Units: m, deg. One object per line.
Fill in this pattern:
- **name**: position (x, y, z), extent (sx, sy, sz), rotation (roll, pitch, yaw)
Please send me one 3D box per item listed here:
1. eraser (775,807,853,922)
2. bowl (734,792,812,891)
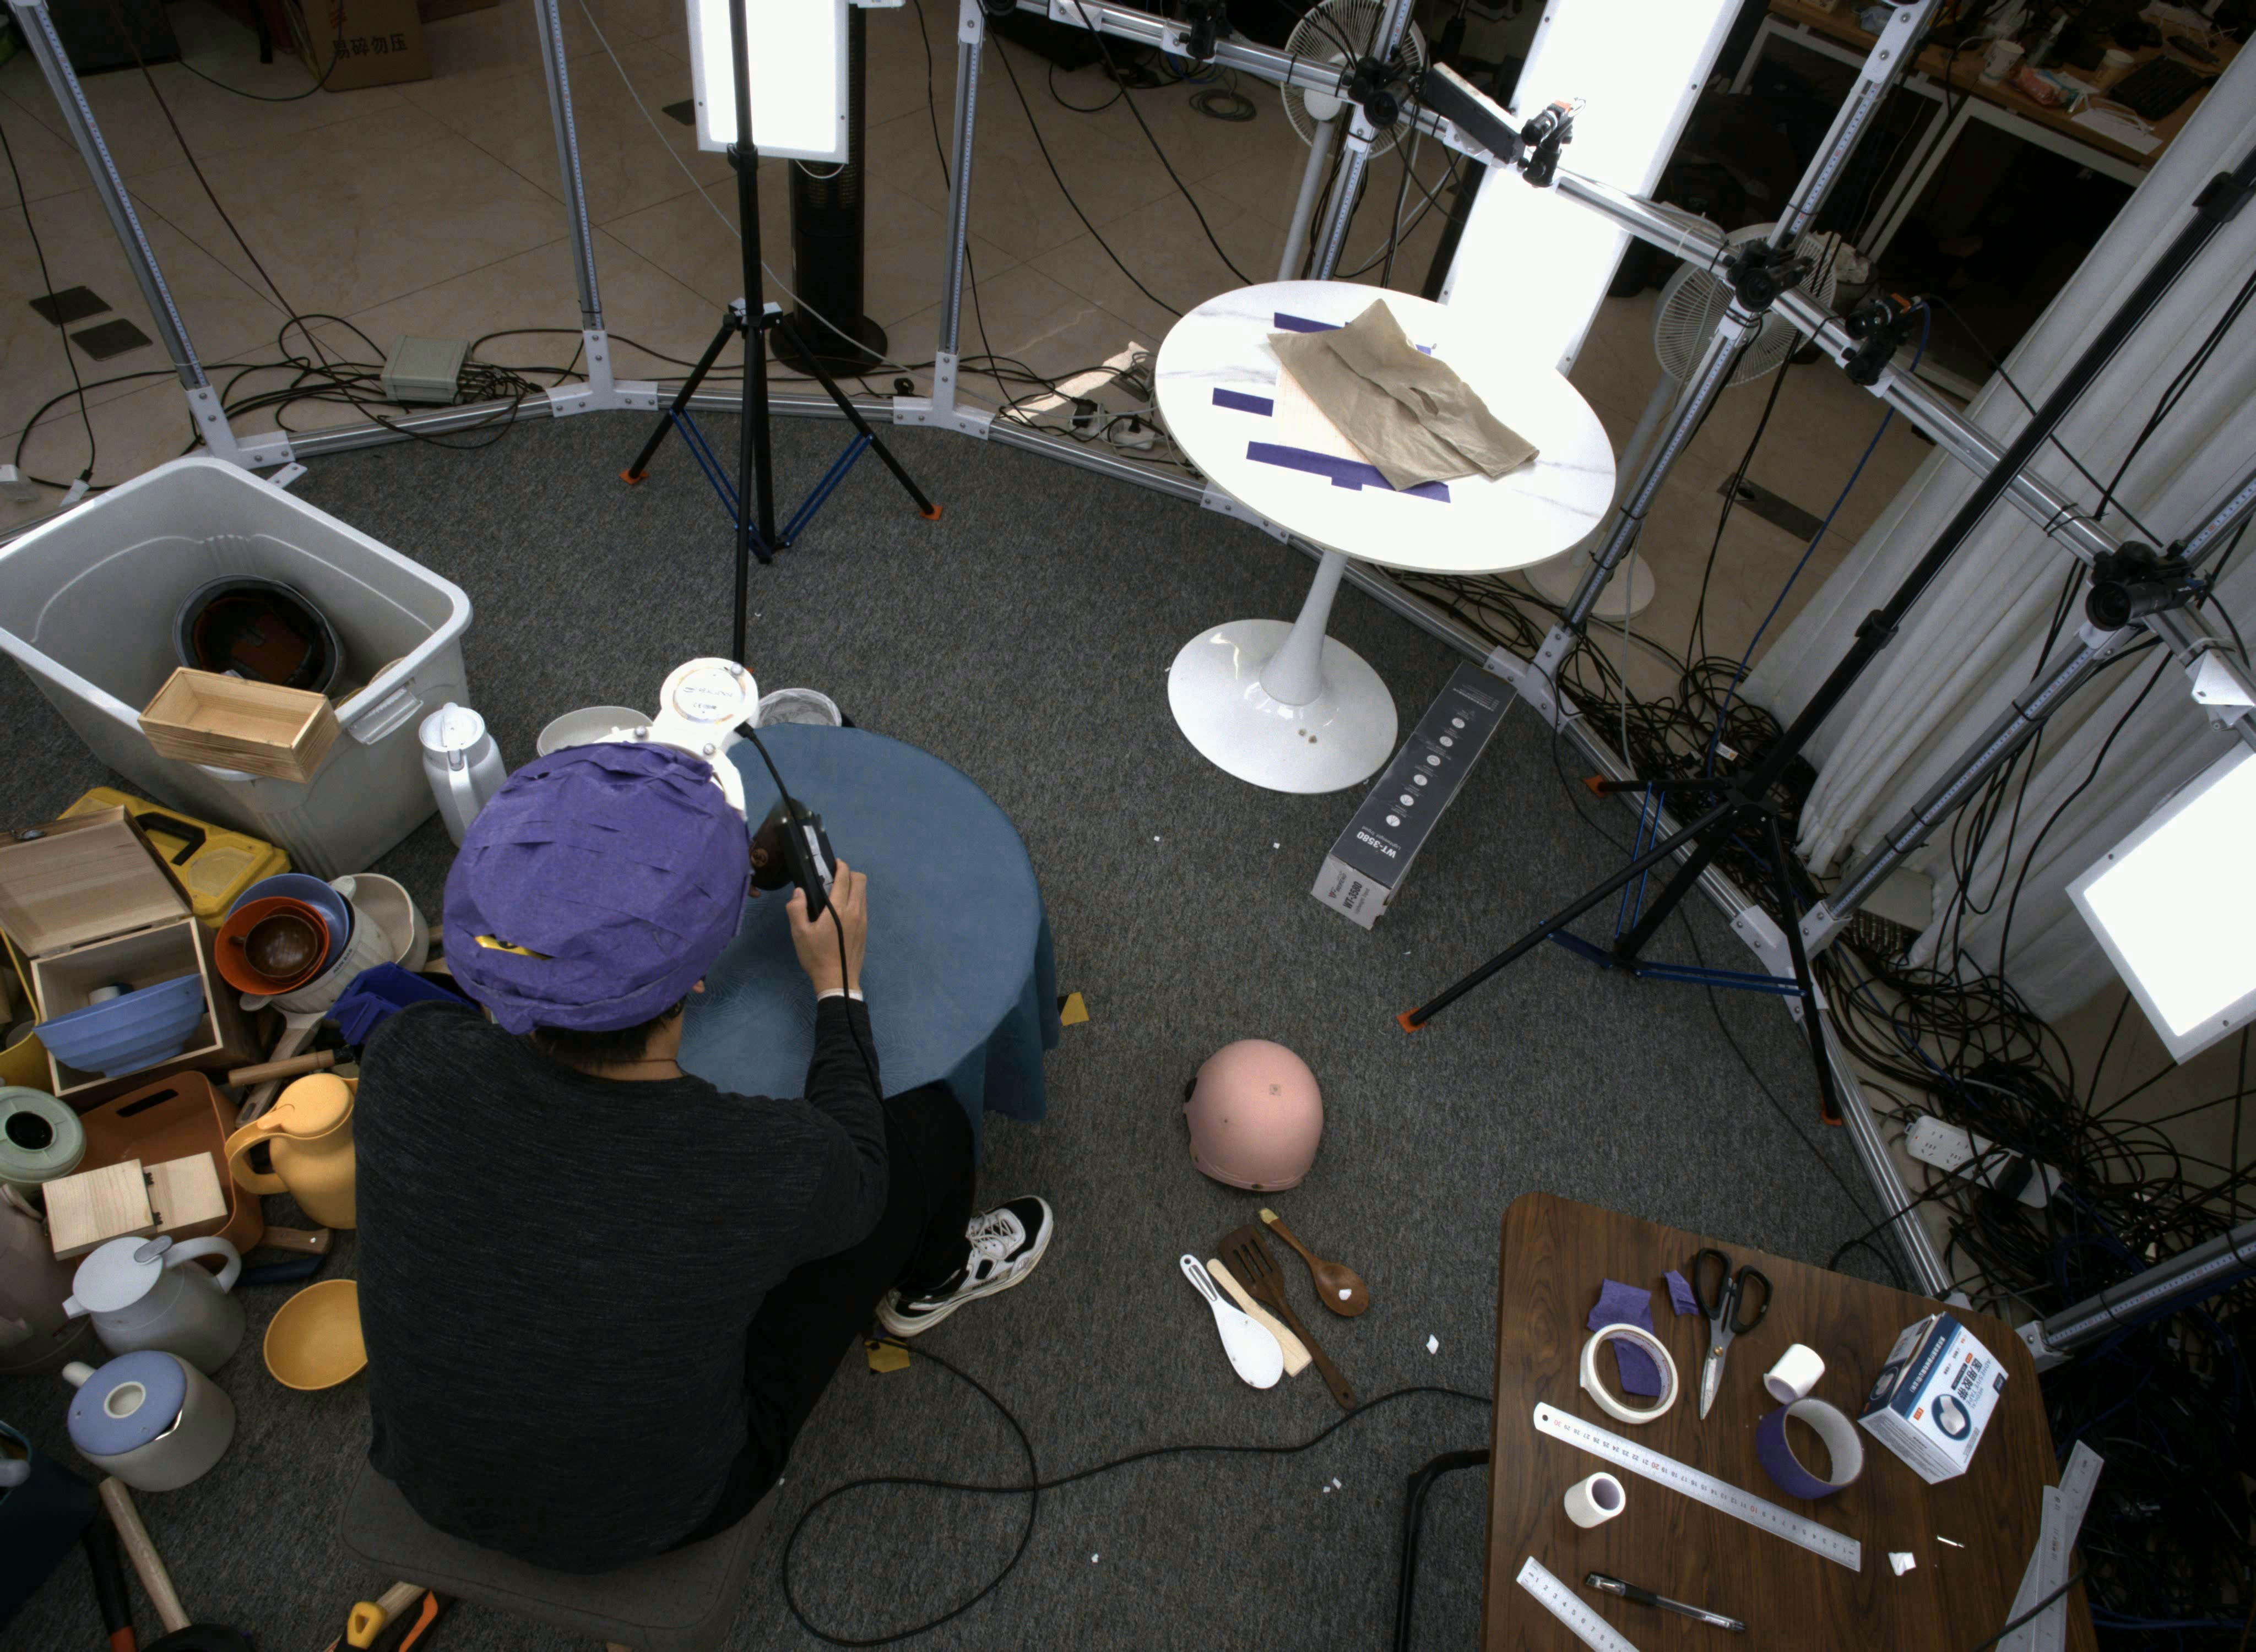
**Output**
- **eraser**: position (-0.369, 0.045, 1.523), extent (0.054, 0.030, 0.127), rotation (-23, 97, -44)
- **bowl**: position (-0.417, 0.025, 1.573), extent (0.070, 0.118, 0.117), rotation (31, 51, -6)
